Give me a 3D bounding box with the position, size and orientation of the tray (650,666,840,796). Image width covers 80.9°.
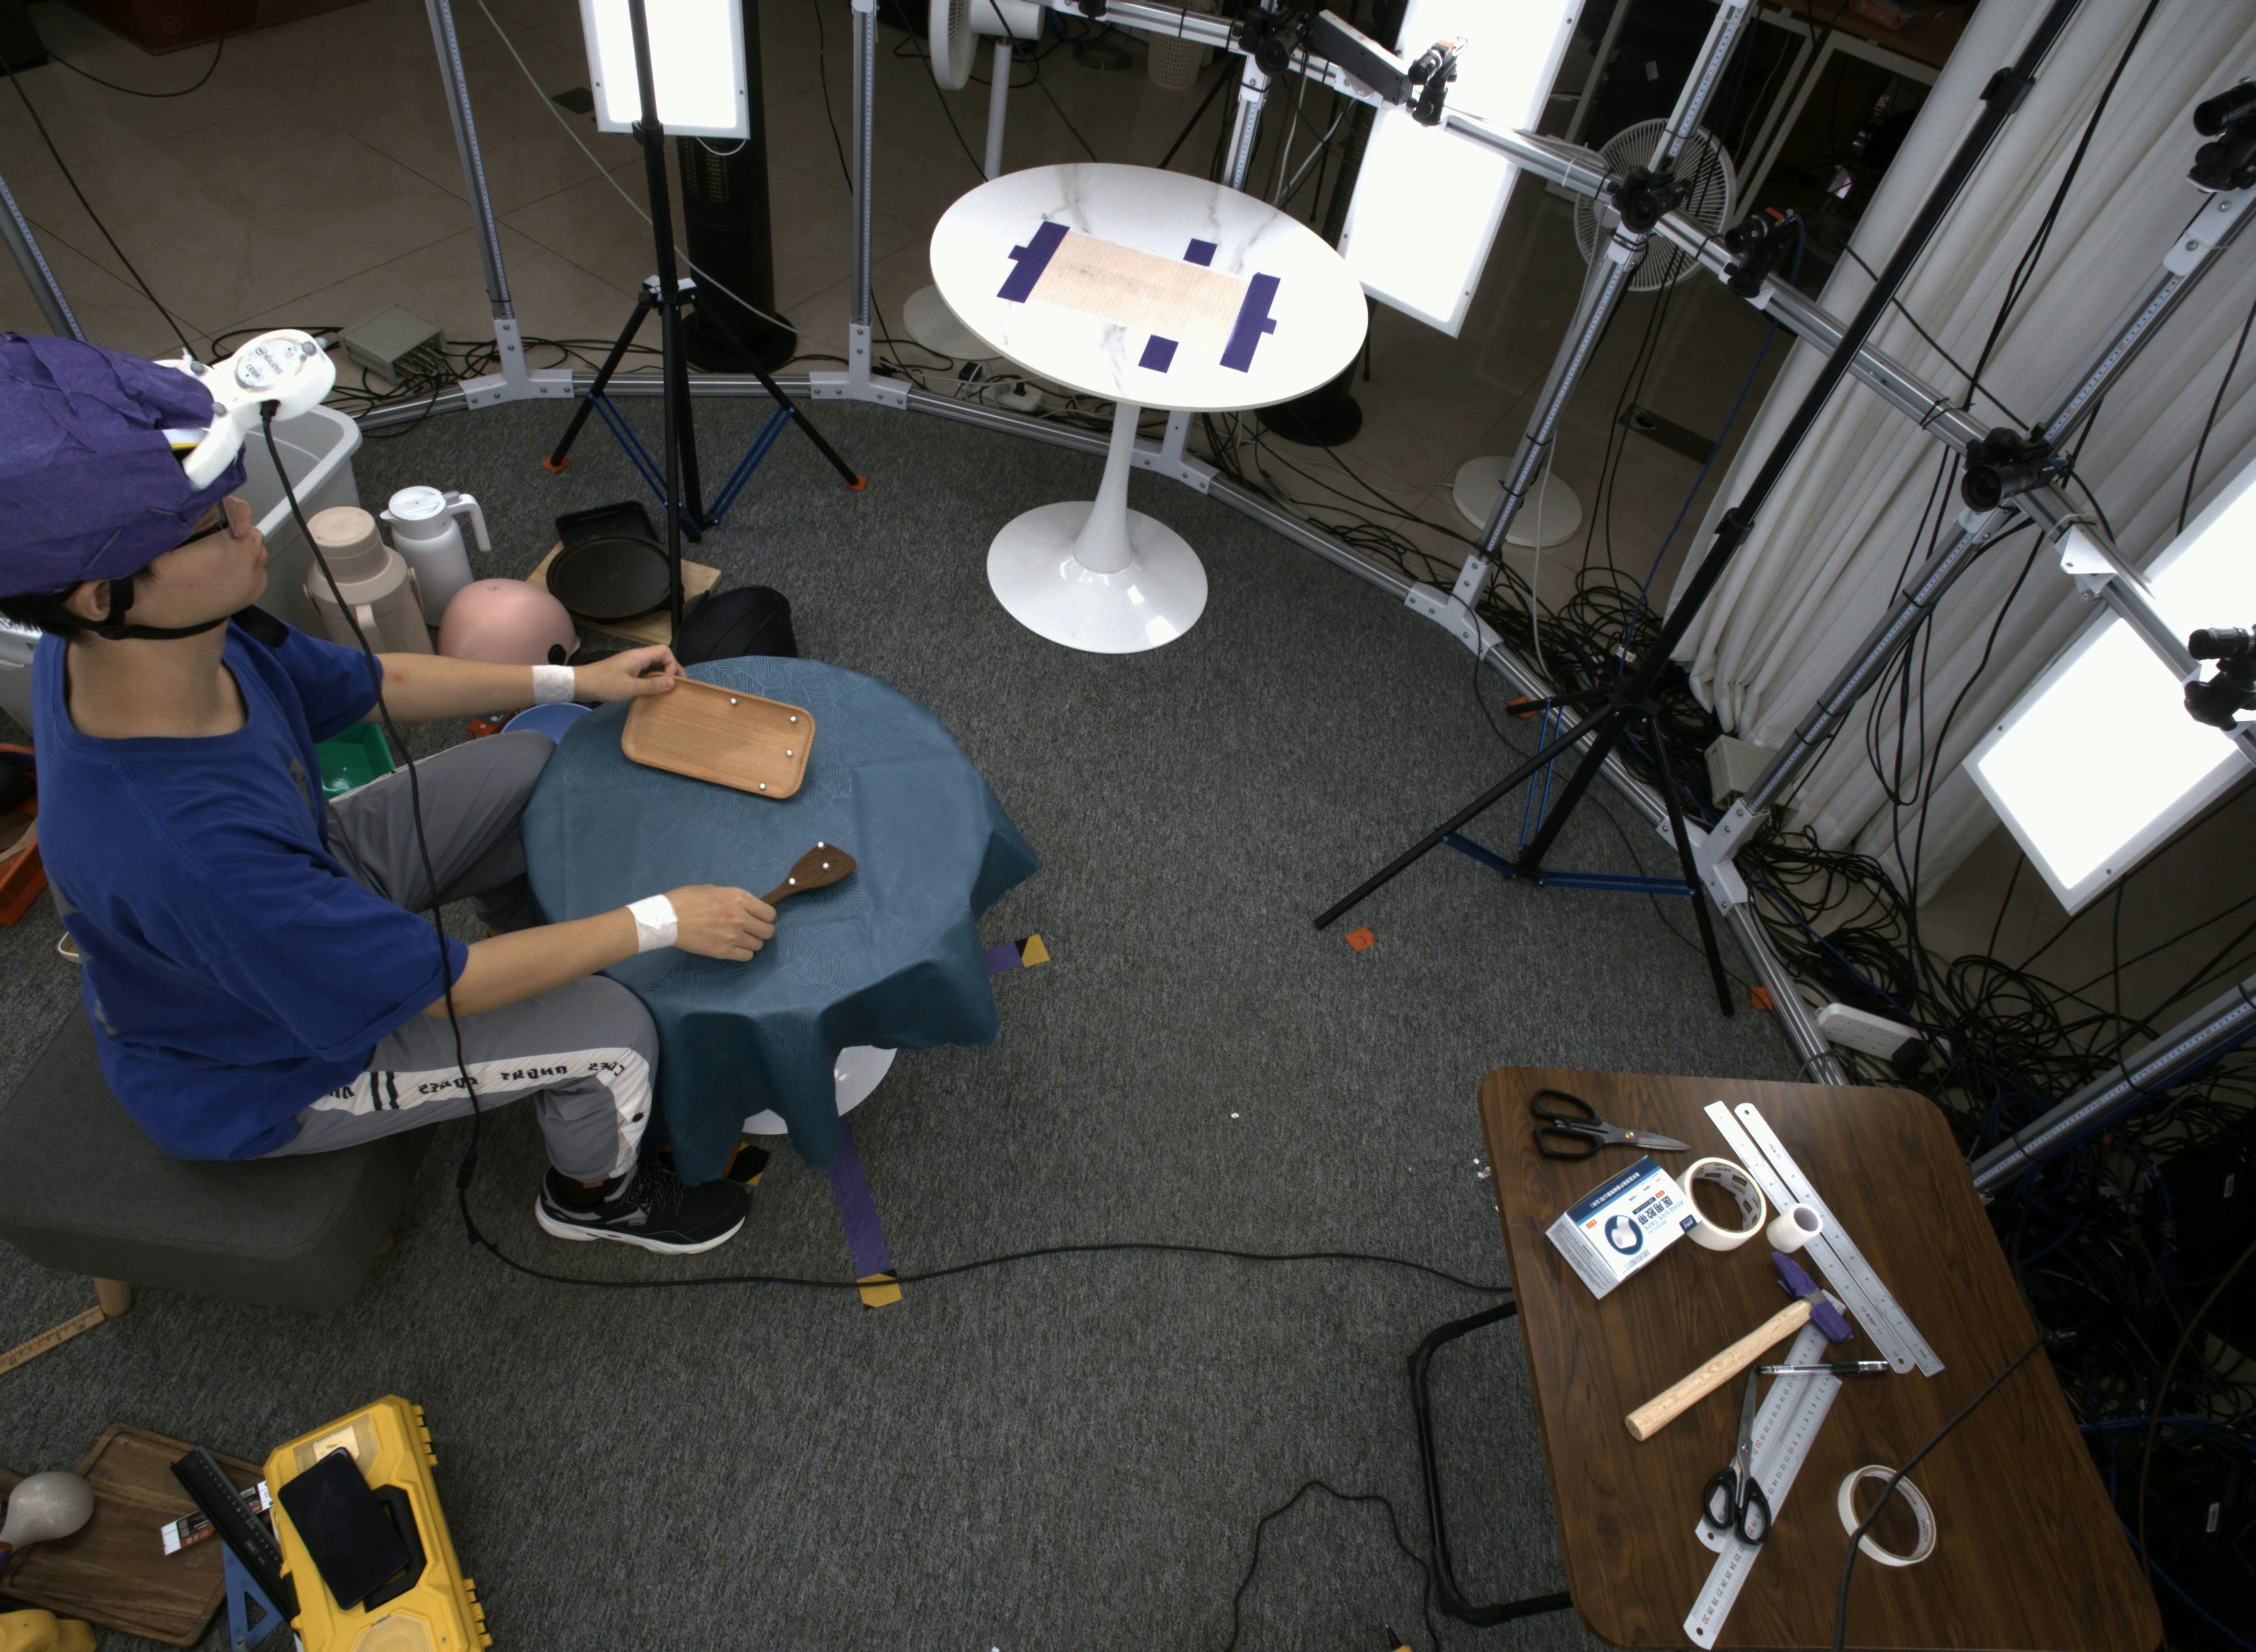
[{"bbox_3d":[-0.522,-0.129,1.755,0.249,0.023,0.131,16,82,-3],"label":"tray"}]

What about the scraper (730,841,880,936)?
[{"bbox_3d":[-0.415,0.081,1.654,0.073,0.011,0.212,32,47,27],"label":"scraper"}]
